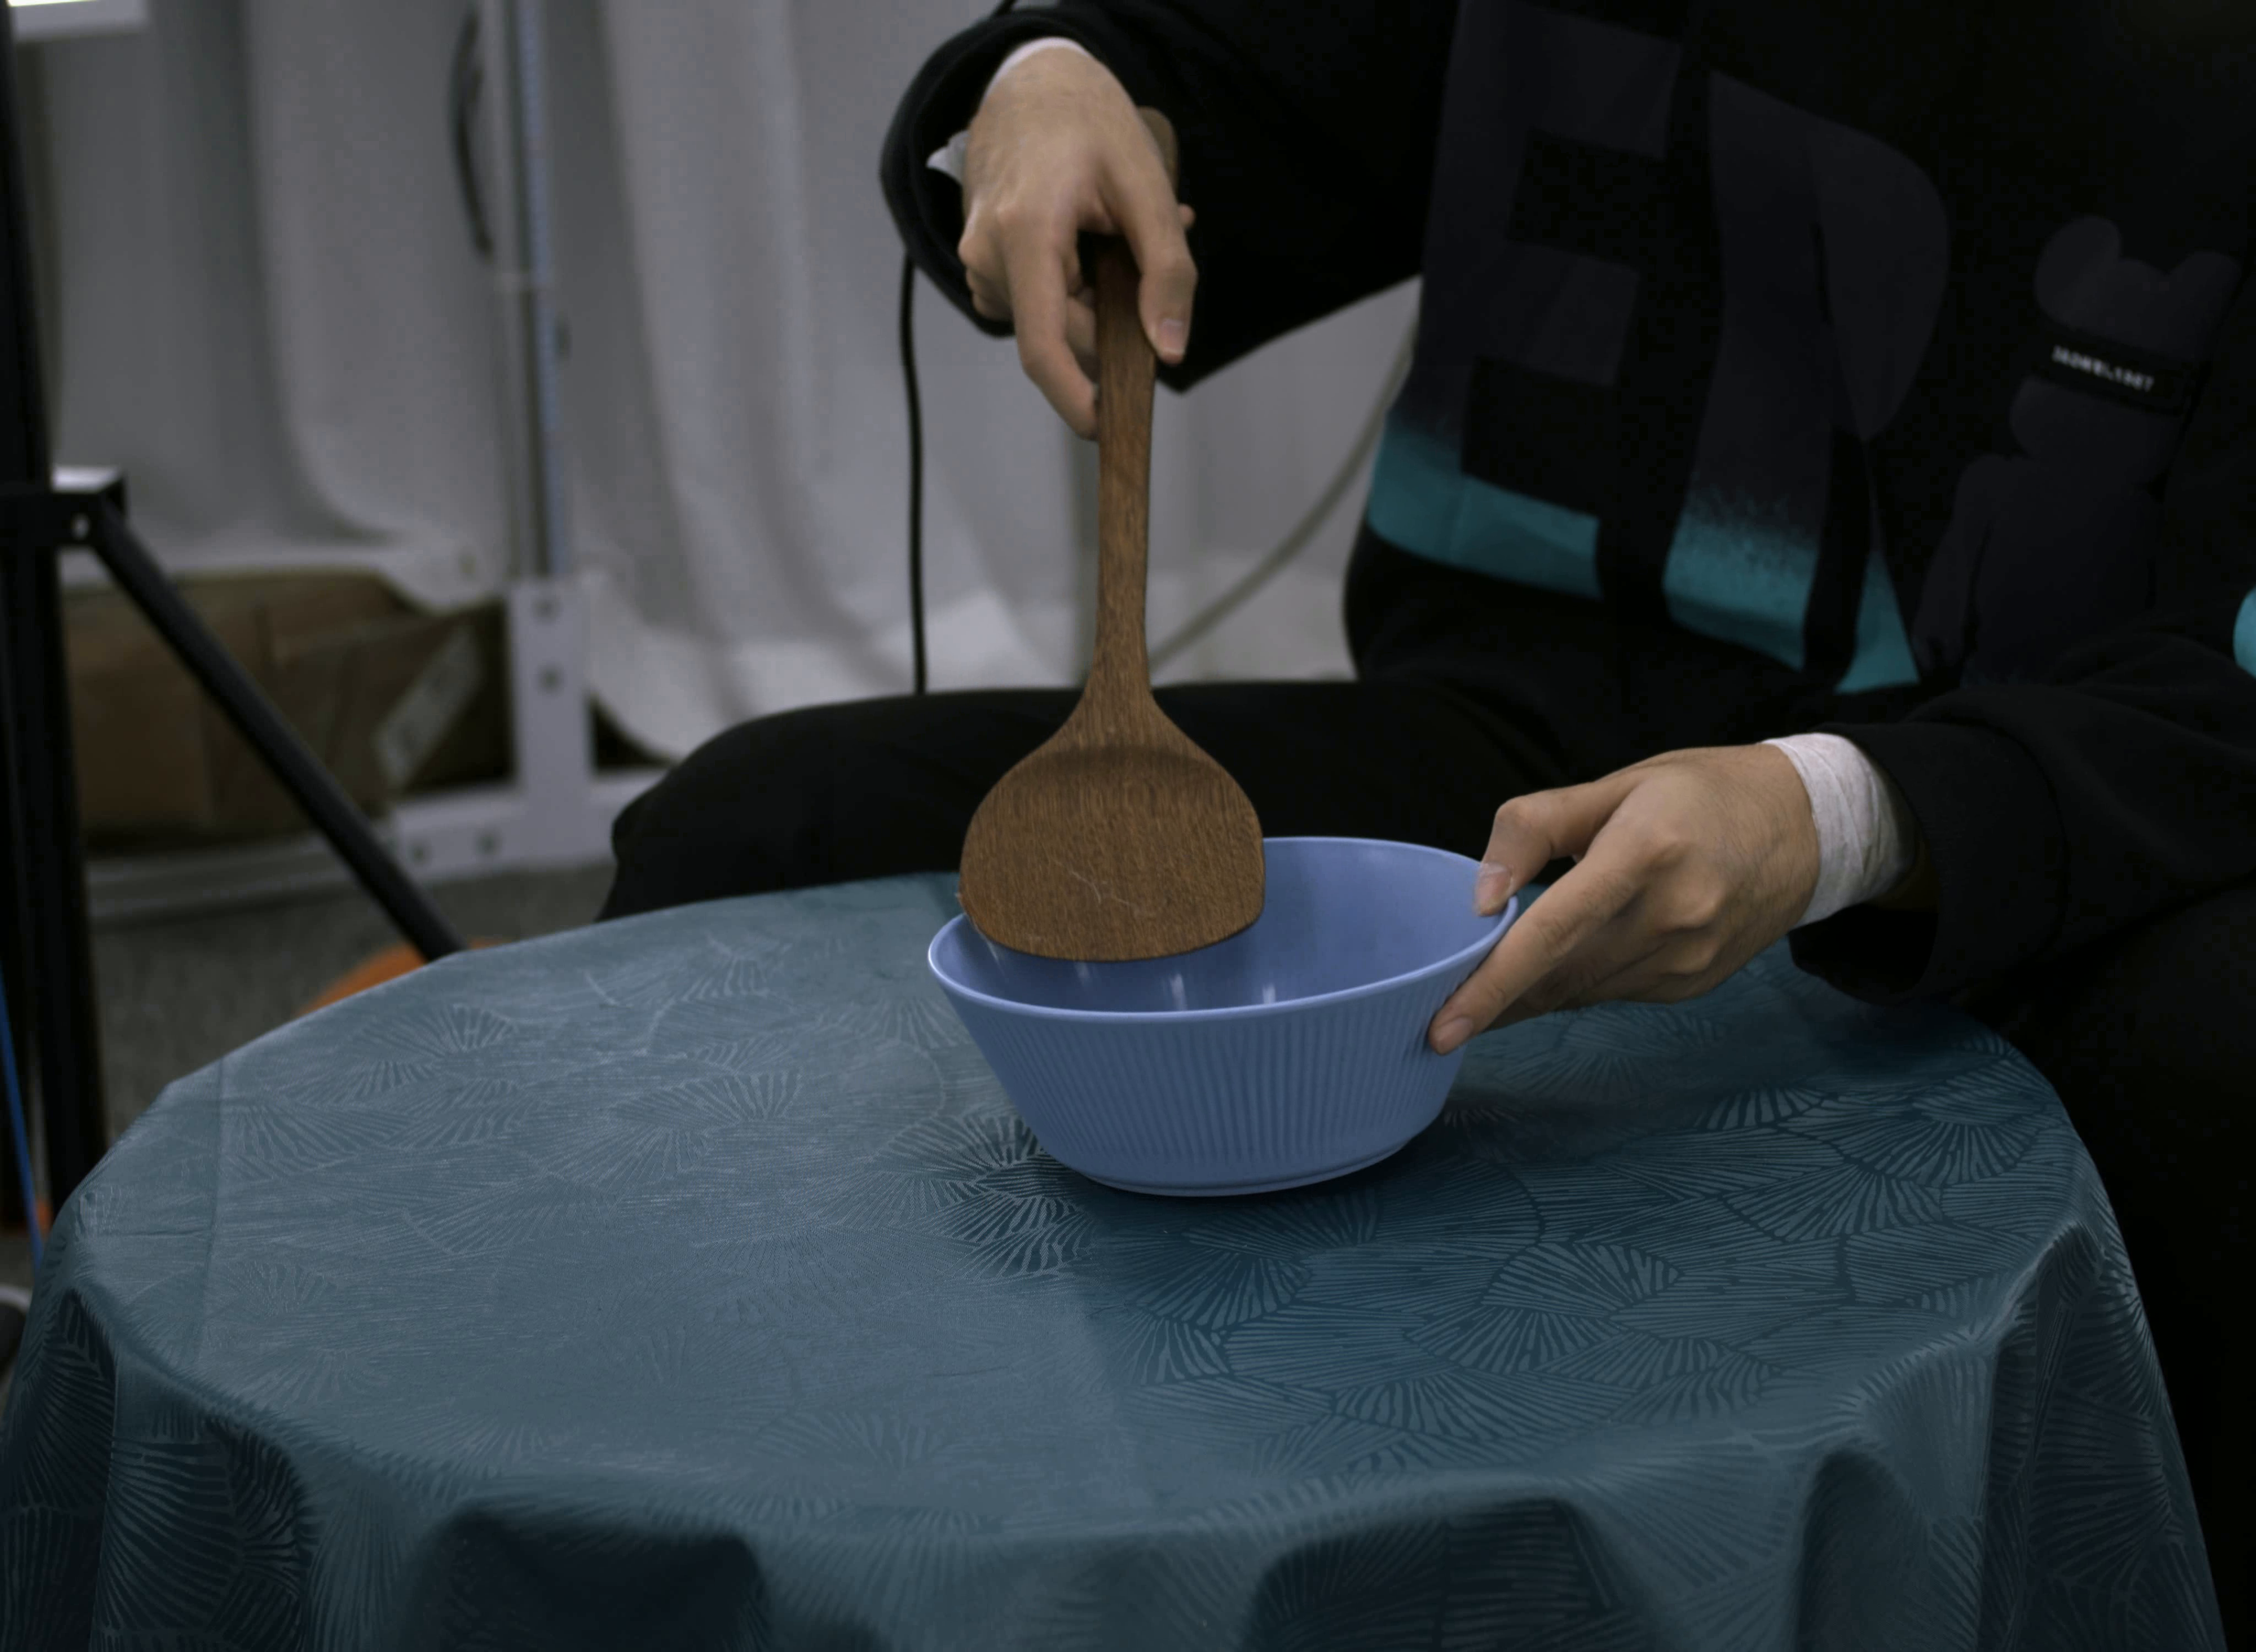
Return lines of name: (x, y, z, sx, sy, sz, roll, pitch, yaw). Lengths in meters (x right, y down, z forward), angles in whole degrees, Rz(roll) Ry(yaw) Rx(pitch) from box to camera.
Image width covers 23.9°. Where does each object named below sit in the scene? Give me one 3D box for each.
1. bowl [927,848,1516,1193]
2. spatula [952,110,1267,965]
bowl: (0.030, 0.060, 1.582, 0.175, 0.070, 0.177, -5, 15, 0)
spatula: (-0.002, -0.104, 1.725, 0.096, 0.015, 0.390, -3, 49, 5)
